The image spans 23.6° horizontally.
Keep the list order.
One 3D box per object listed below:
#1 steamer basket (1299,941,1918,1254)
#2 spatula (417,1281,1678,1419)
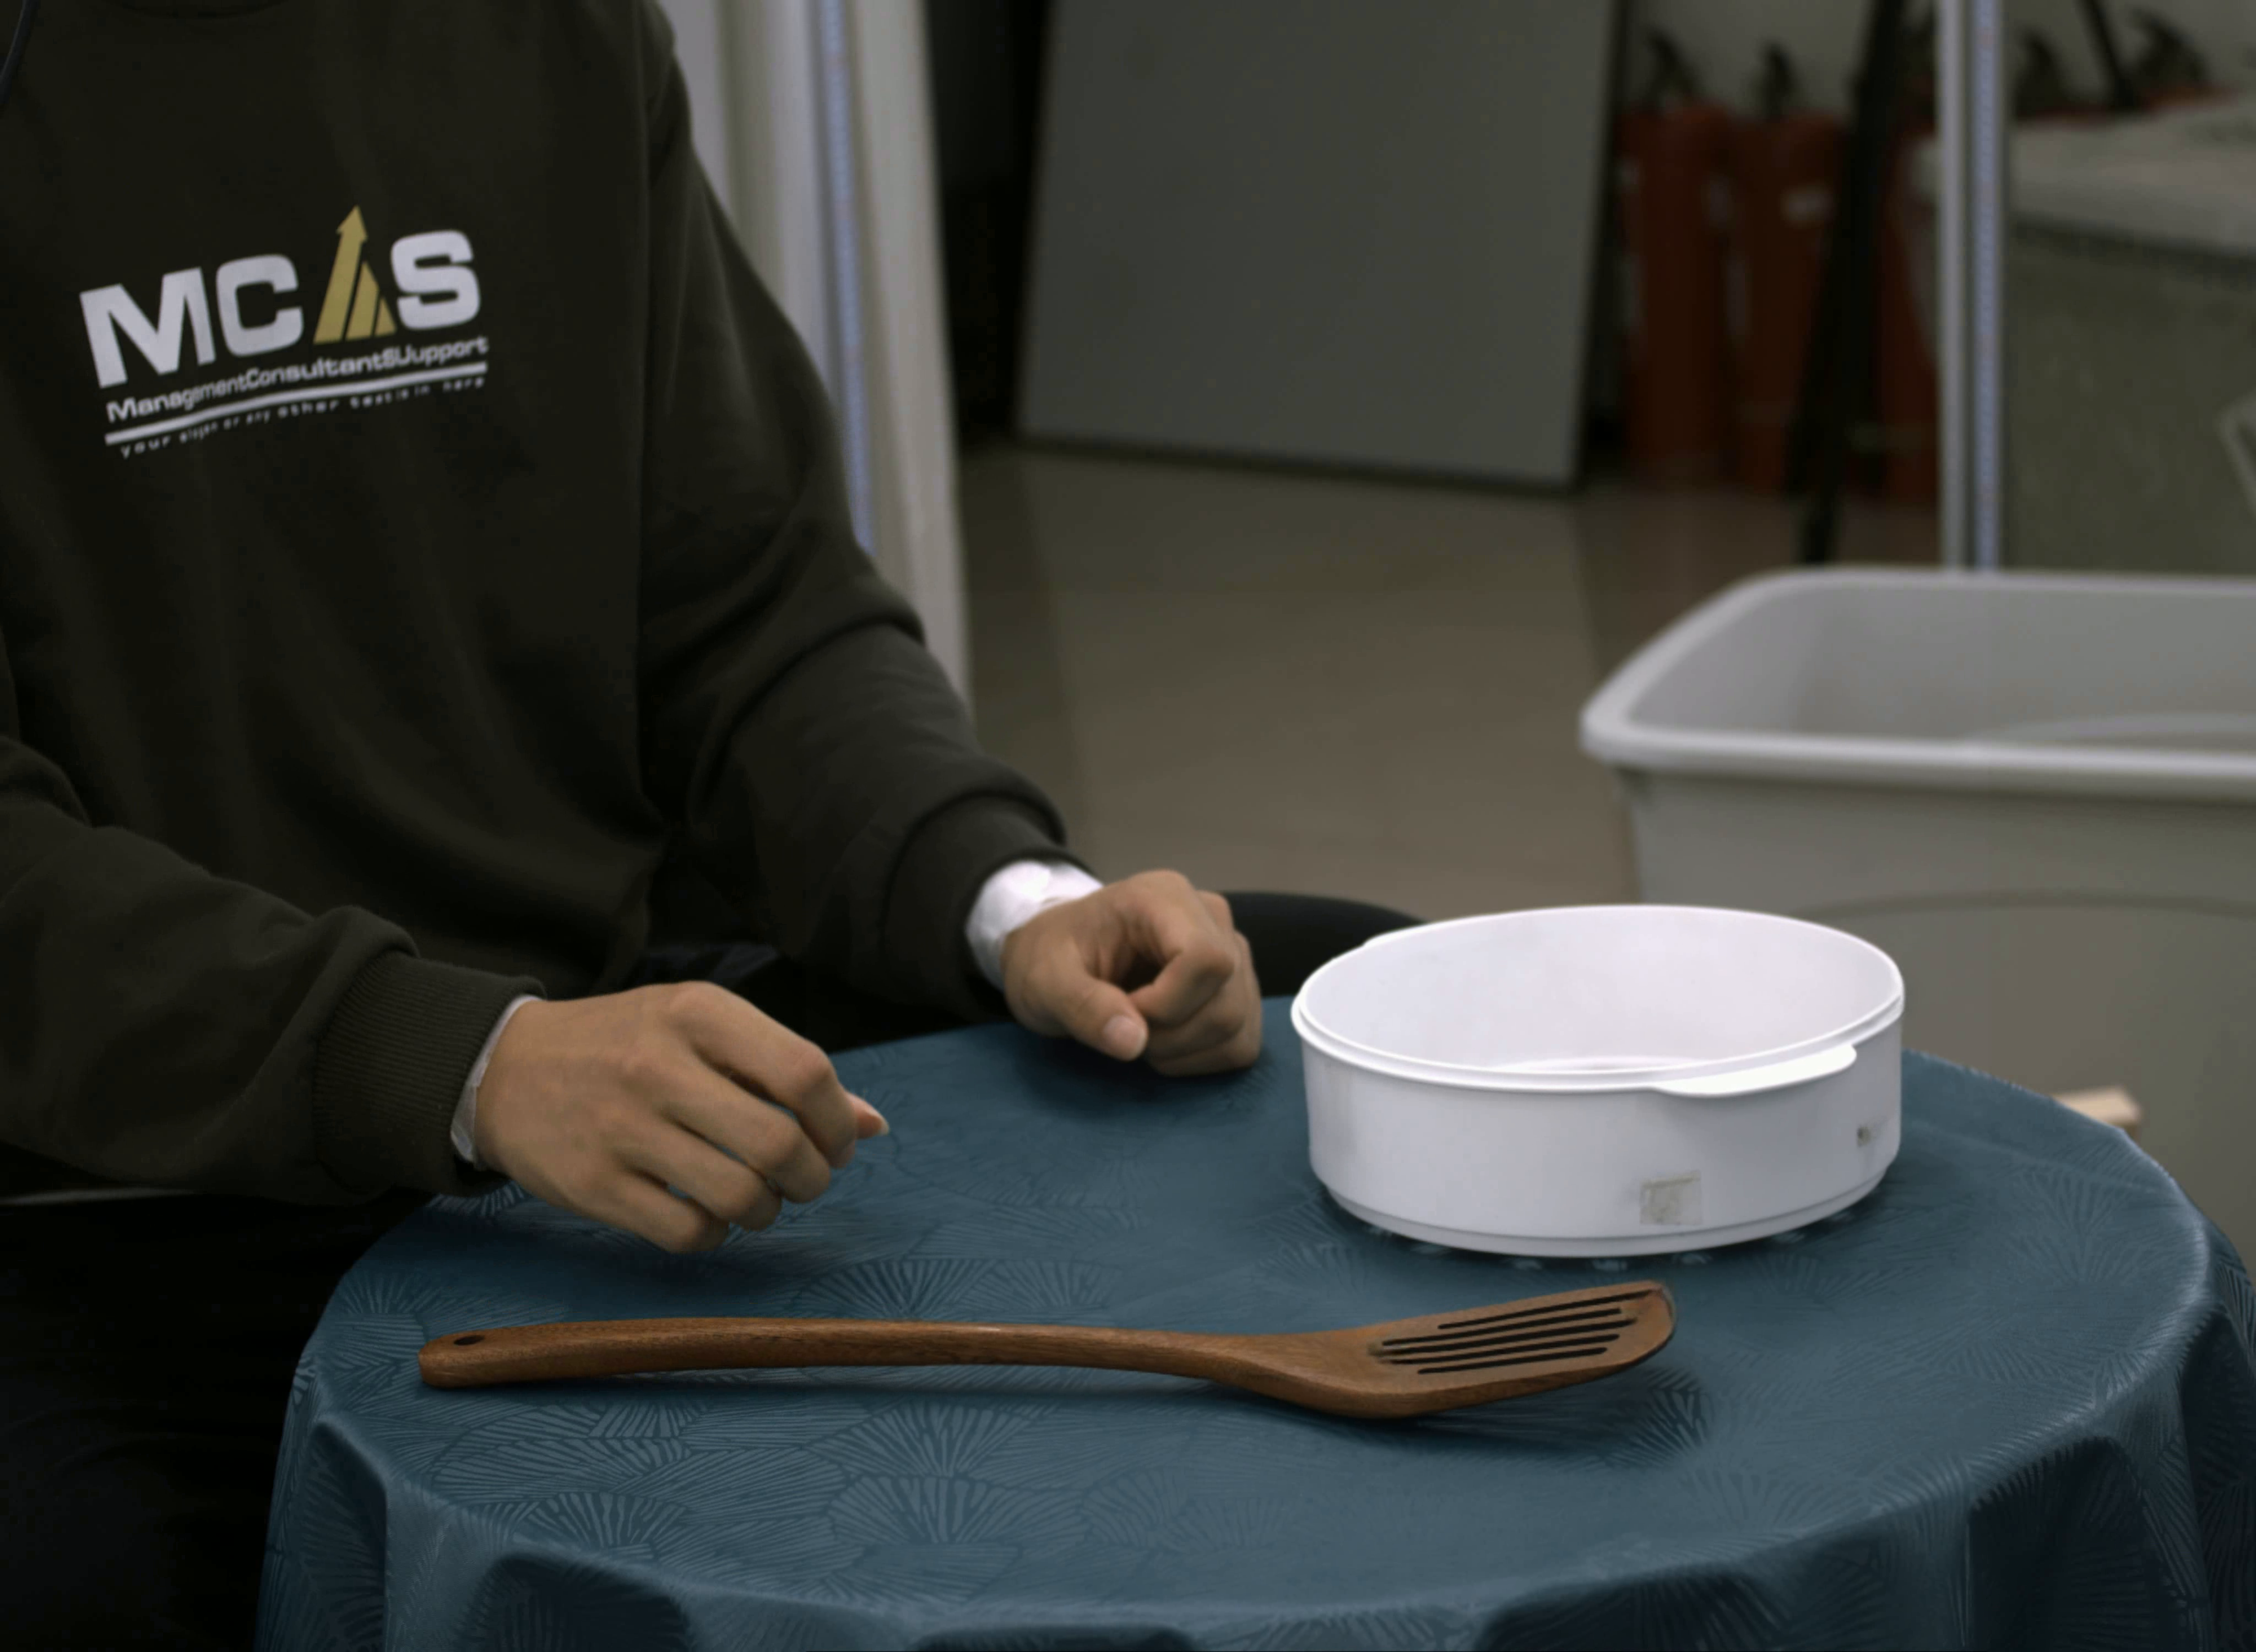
[{"bbox_3d":[0.156,0.088,1.738,0.197,0.070,0.233,-8,10,-23],"label":"steamer basket"},{"bbox_3d":[-0.028,0.158,1.589,0.383,0.024,0.085,-2,11,14],"label":"spatula"}]
